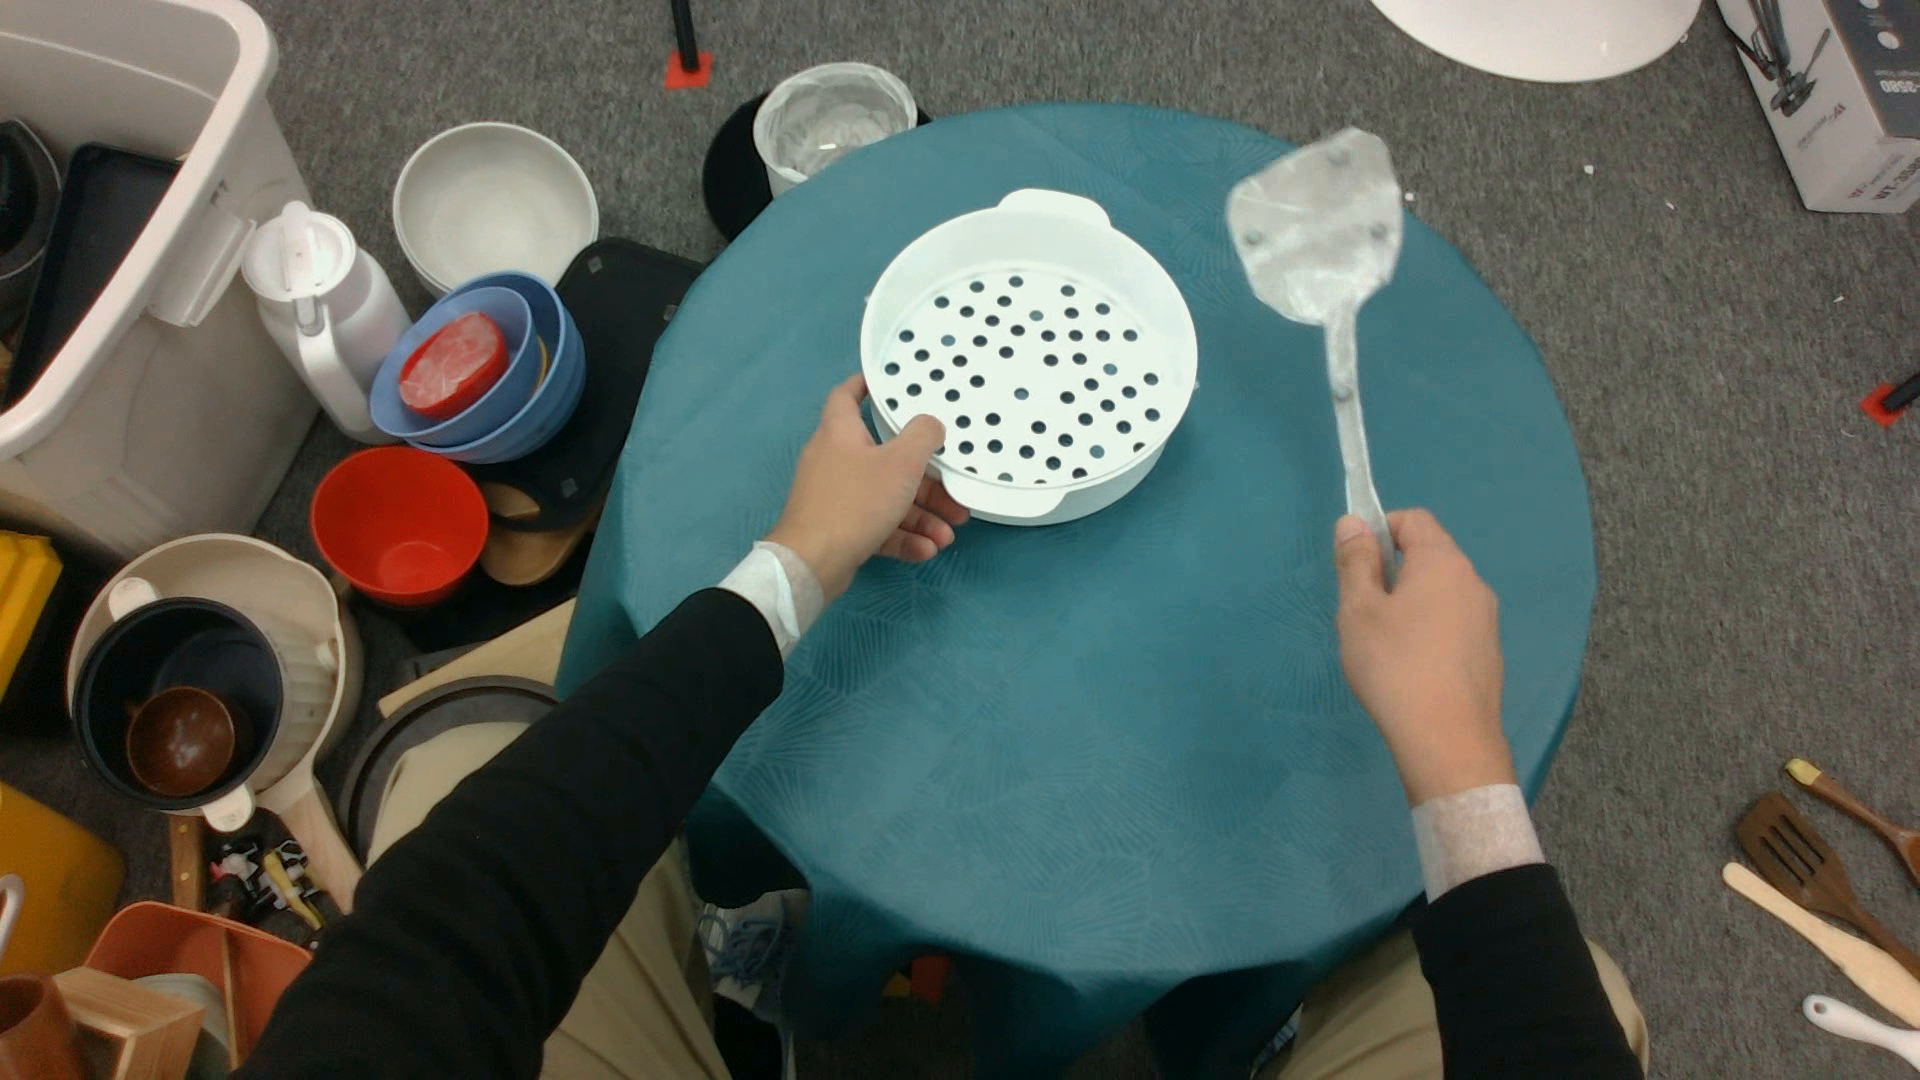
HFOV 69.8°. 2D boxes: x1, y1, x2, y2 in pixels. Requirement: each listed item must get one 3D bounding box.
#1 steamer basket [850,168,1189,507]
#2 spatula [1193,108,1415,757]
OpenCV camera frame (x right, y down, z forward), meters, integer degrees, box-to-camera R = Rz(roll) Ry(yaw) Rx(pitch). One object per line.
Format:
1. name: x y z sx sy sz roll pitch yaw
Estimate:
1. steamer basket: 0.035 -0.117 0.844 0.202 0.069 0.231 10 67 3
2. spatula: 0.197 -0.067 0.736 0.098 0.045 0.366 -21 61 32
